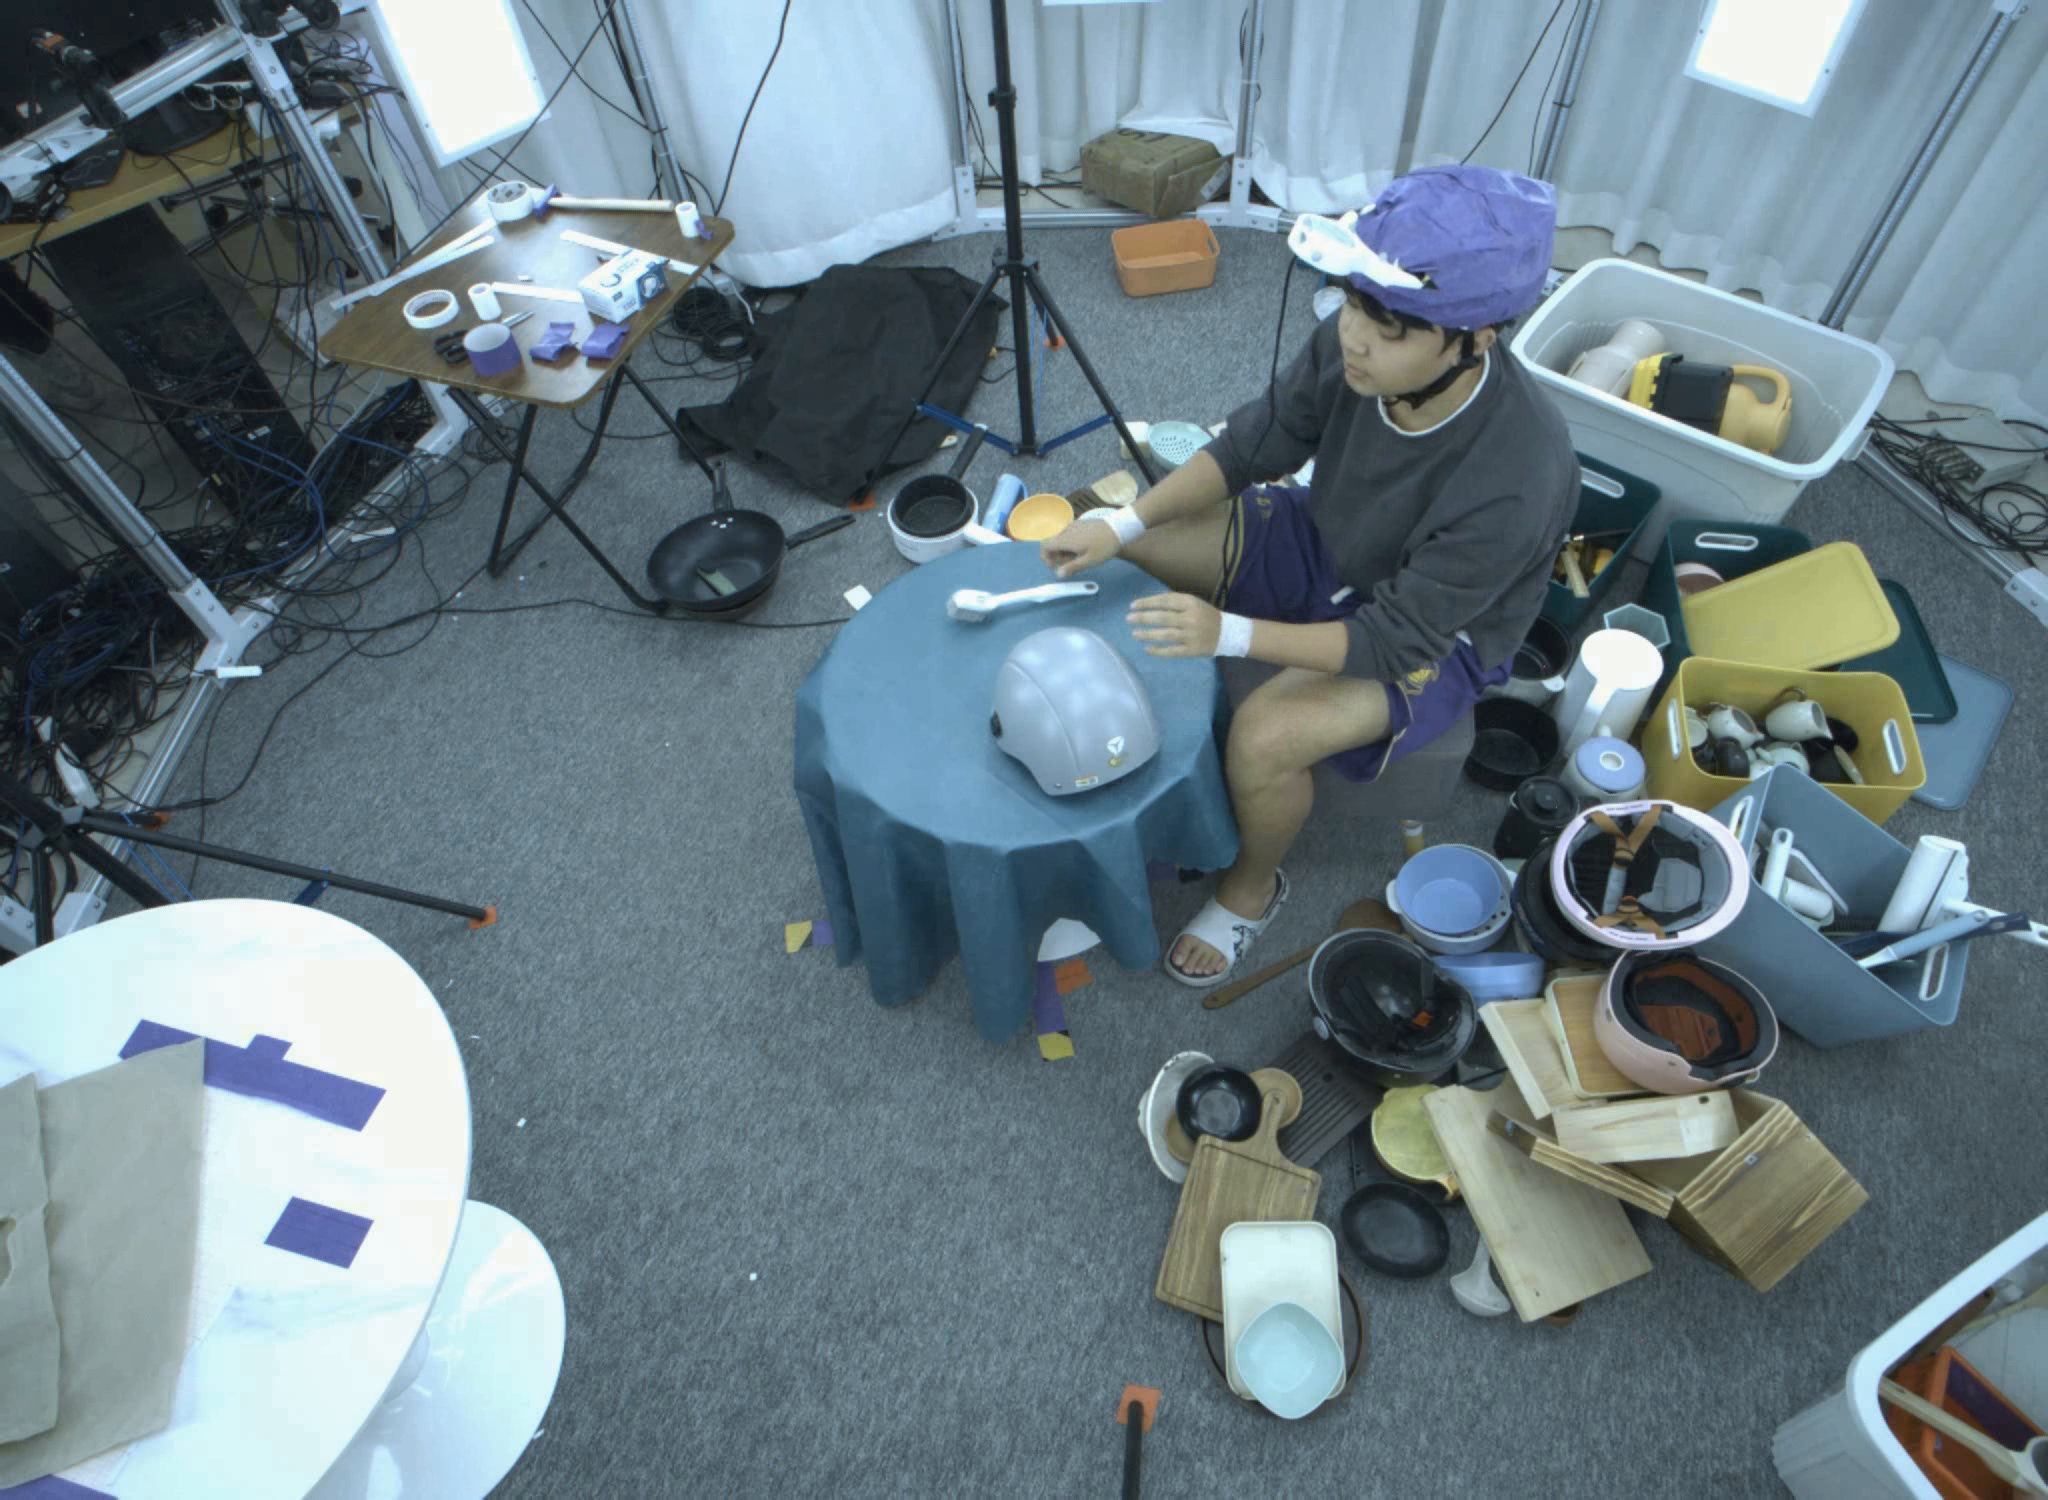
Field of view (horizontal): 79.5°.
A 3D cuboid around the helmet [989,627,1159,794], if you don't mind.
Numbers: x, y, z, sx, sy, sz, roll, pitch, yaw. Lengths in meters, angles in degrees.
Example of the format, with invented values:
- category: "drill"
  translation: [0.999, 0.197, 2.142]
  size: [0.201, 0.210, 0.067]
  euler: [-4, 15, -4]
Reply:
- category: "helmet"
  translation: [0.064, -0.081, 1.745]
  size: [0.234, 0.171, 0.271]
  euler: [-27, 56, -16]

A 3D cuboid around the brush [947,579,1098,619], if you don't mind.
- category: "brush"
  translation: [-0.002, -0.239, 1.946]
  size: [0.247, 0.050, 0.034]
  euler: [-7, 57, -19]
